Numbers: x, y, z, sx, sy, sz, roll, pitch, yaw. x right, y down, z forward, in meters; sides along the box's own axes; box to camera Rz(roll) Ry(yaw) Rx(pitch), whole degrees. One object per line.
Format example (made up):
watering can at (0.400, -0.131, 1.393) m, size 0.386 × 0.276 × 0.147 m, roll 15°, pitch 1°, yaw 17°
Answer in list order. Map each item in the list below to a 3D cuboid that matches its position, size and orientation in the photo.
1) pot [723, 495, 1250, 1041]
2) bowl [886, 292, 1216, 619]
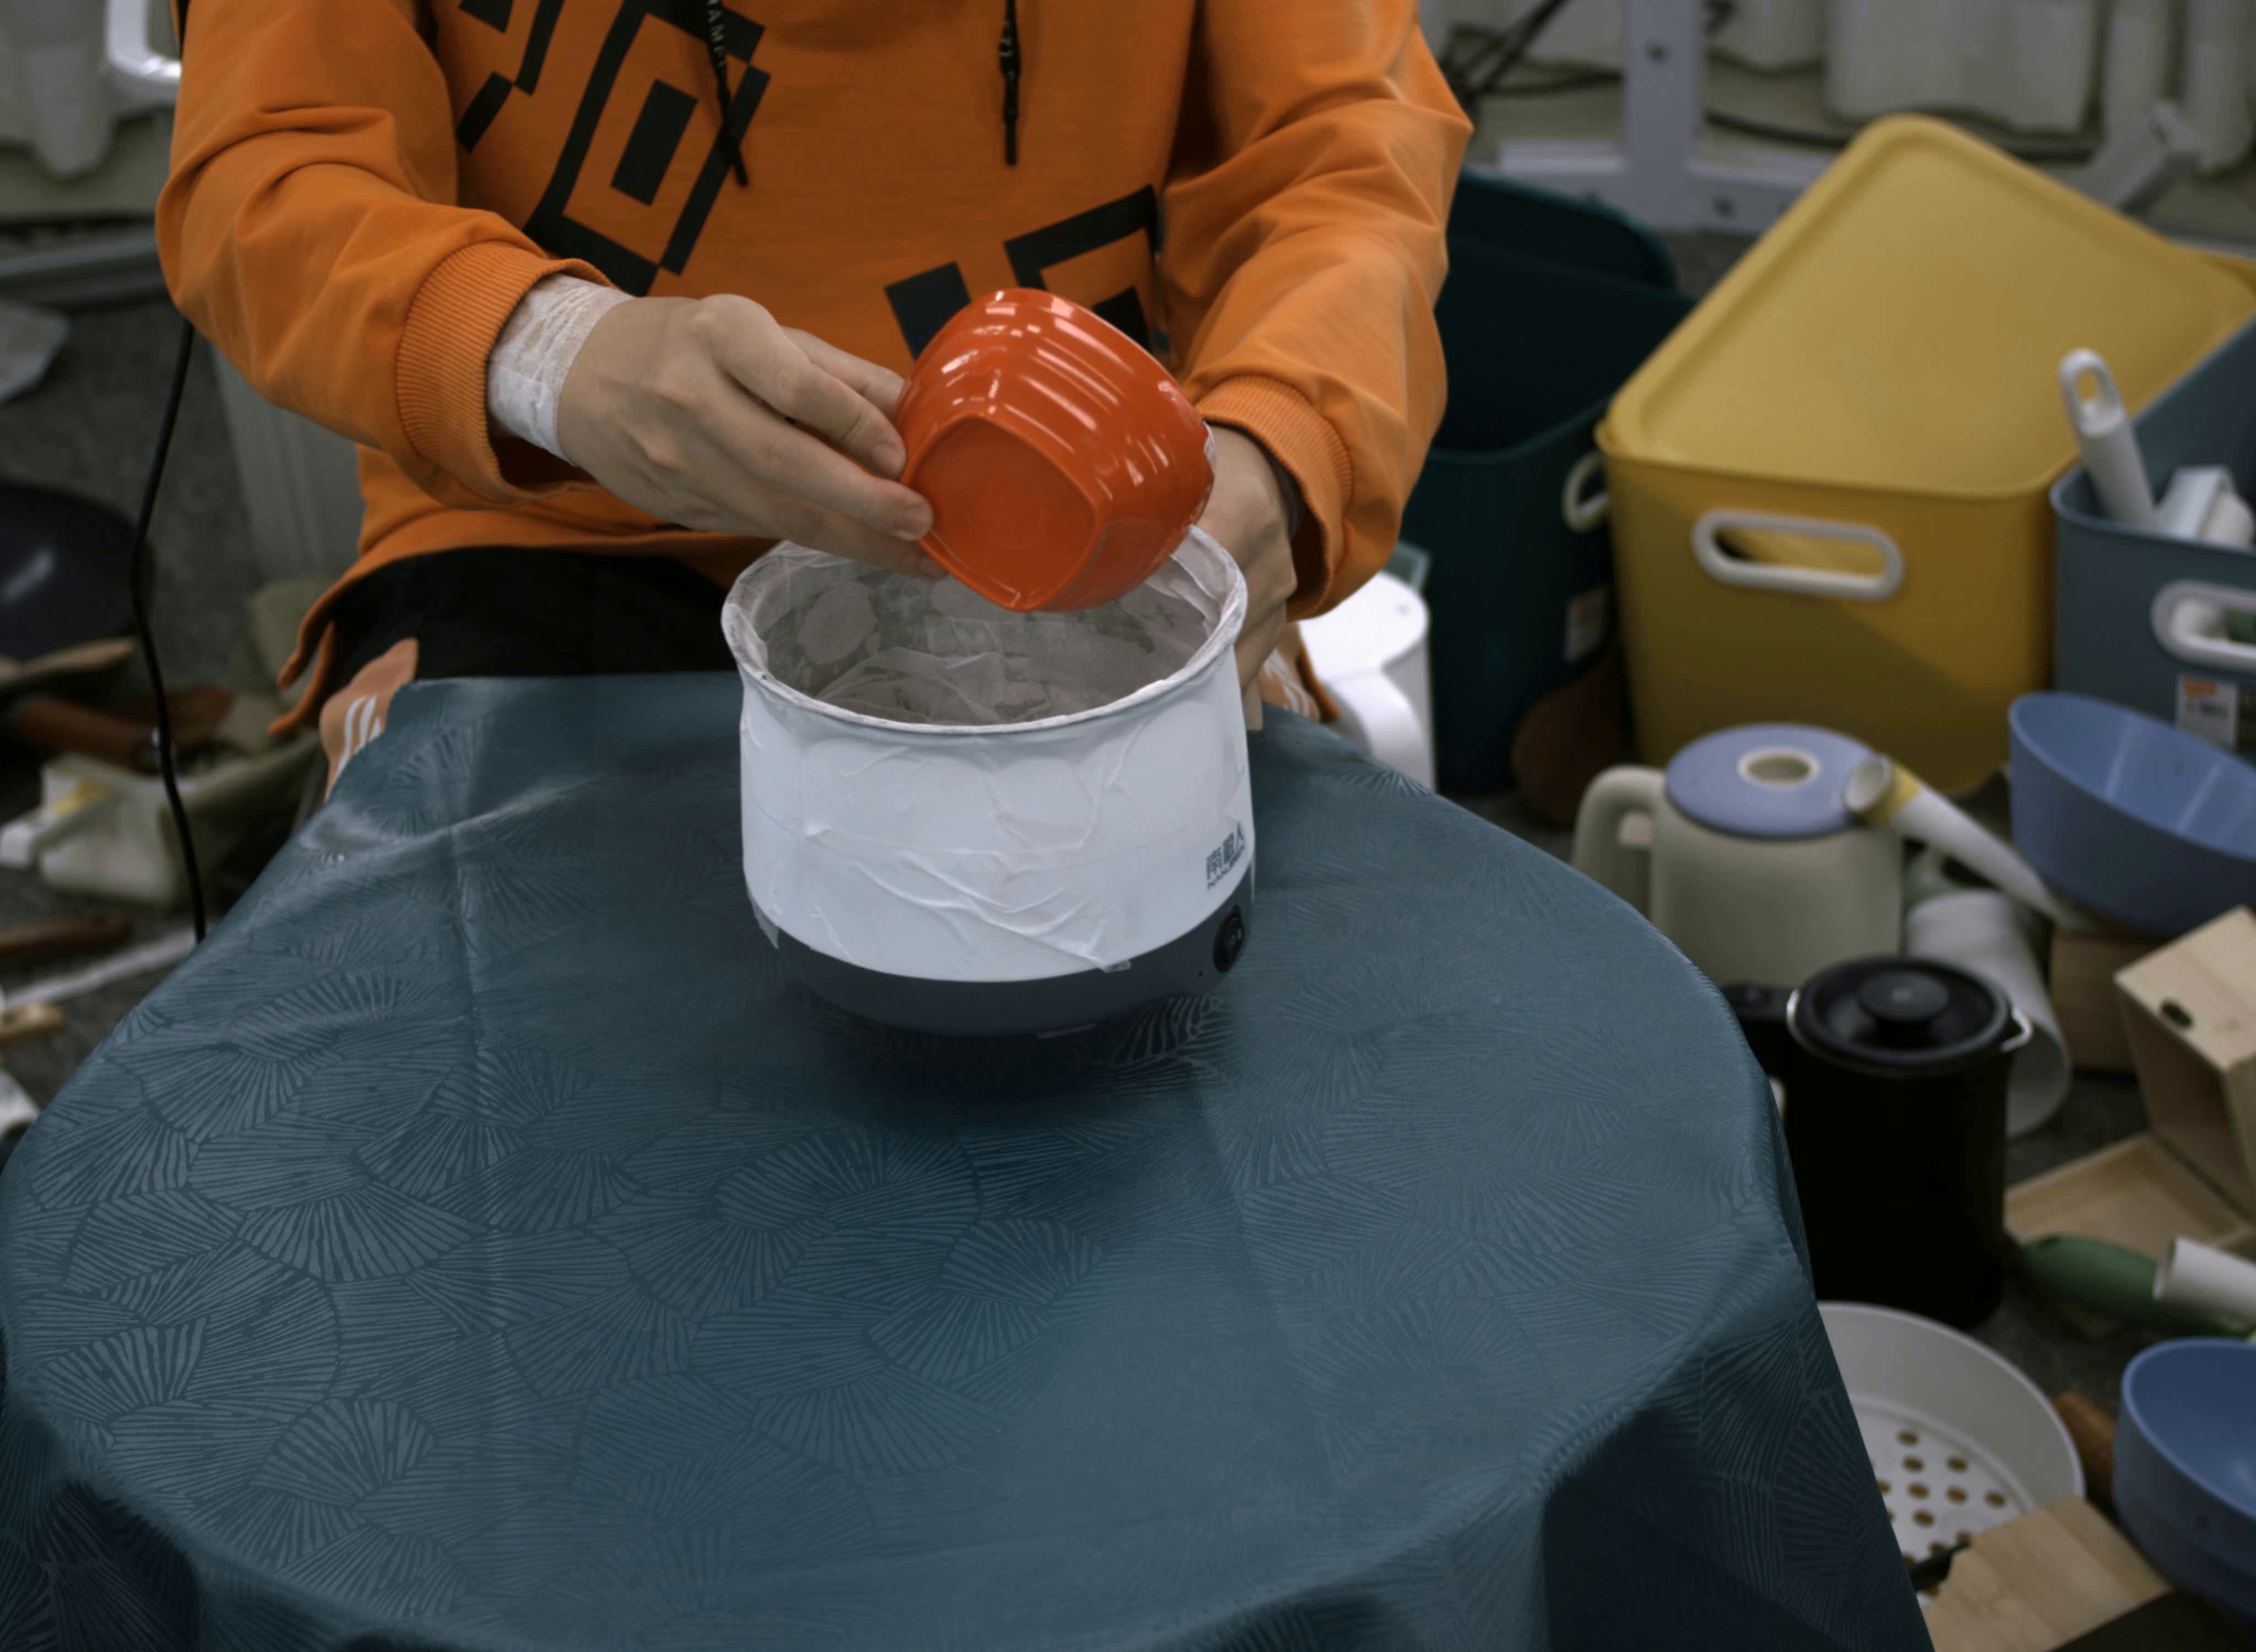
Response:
pot at (-0.035, -0.033, 1.944) m, size 0.177 × 0.135 × 0.238 m, roll 11°, pitch 32°, yaw 21°
bowl at (-0.034, -0.114, 1.883) m, size 0.118 × 0.117 × 0.052 m, roll 9°, pitch 36°, yaw 22°
